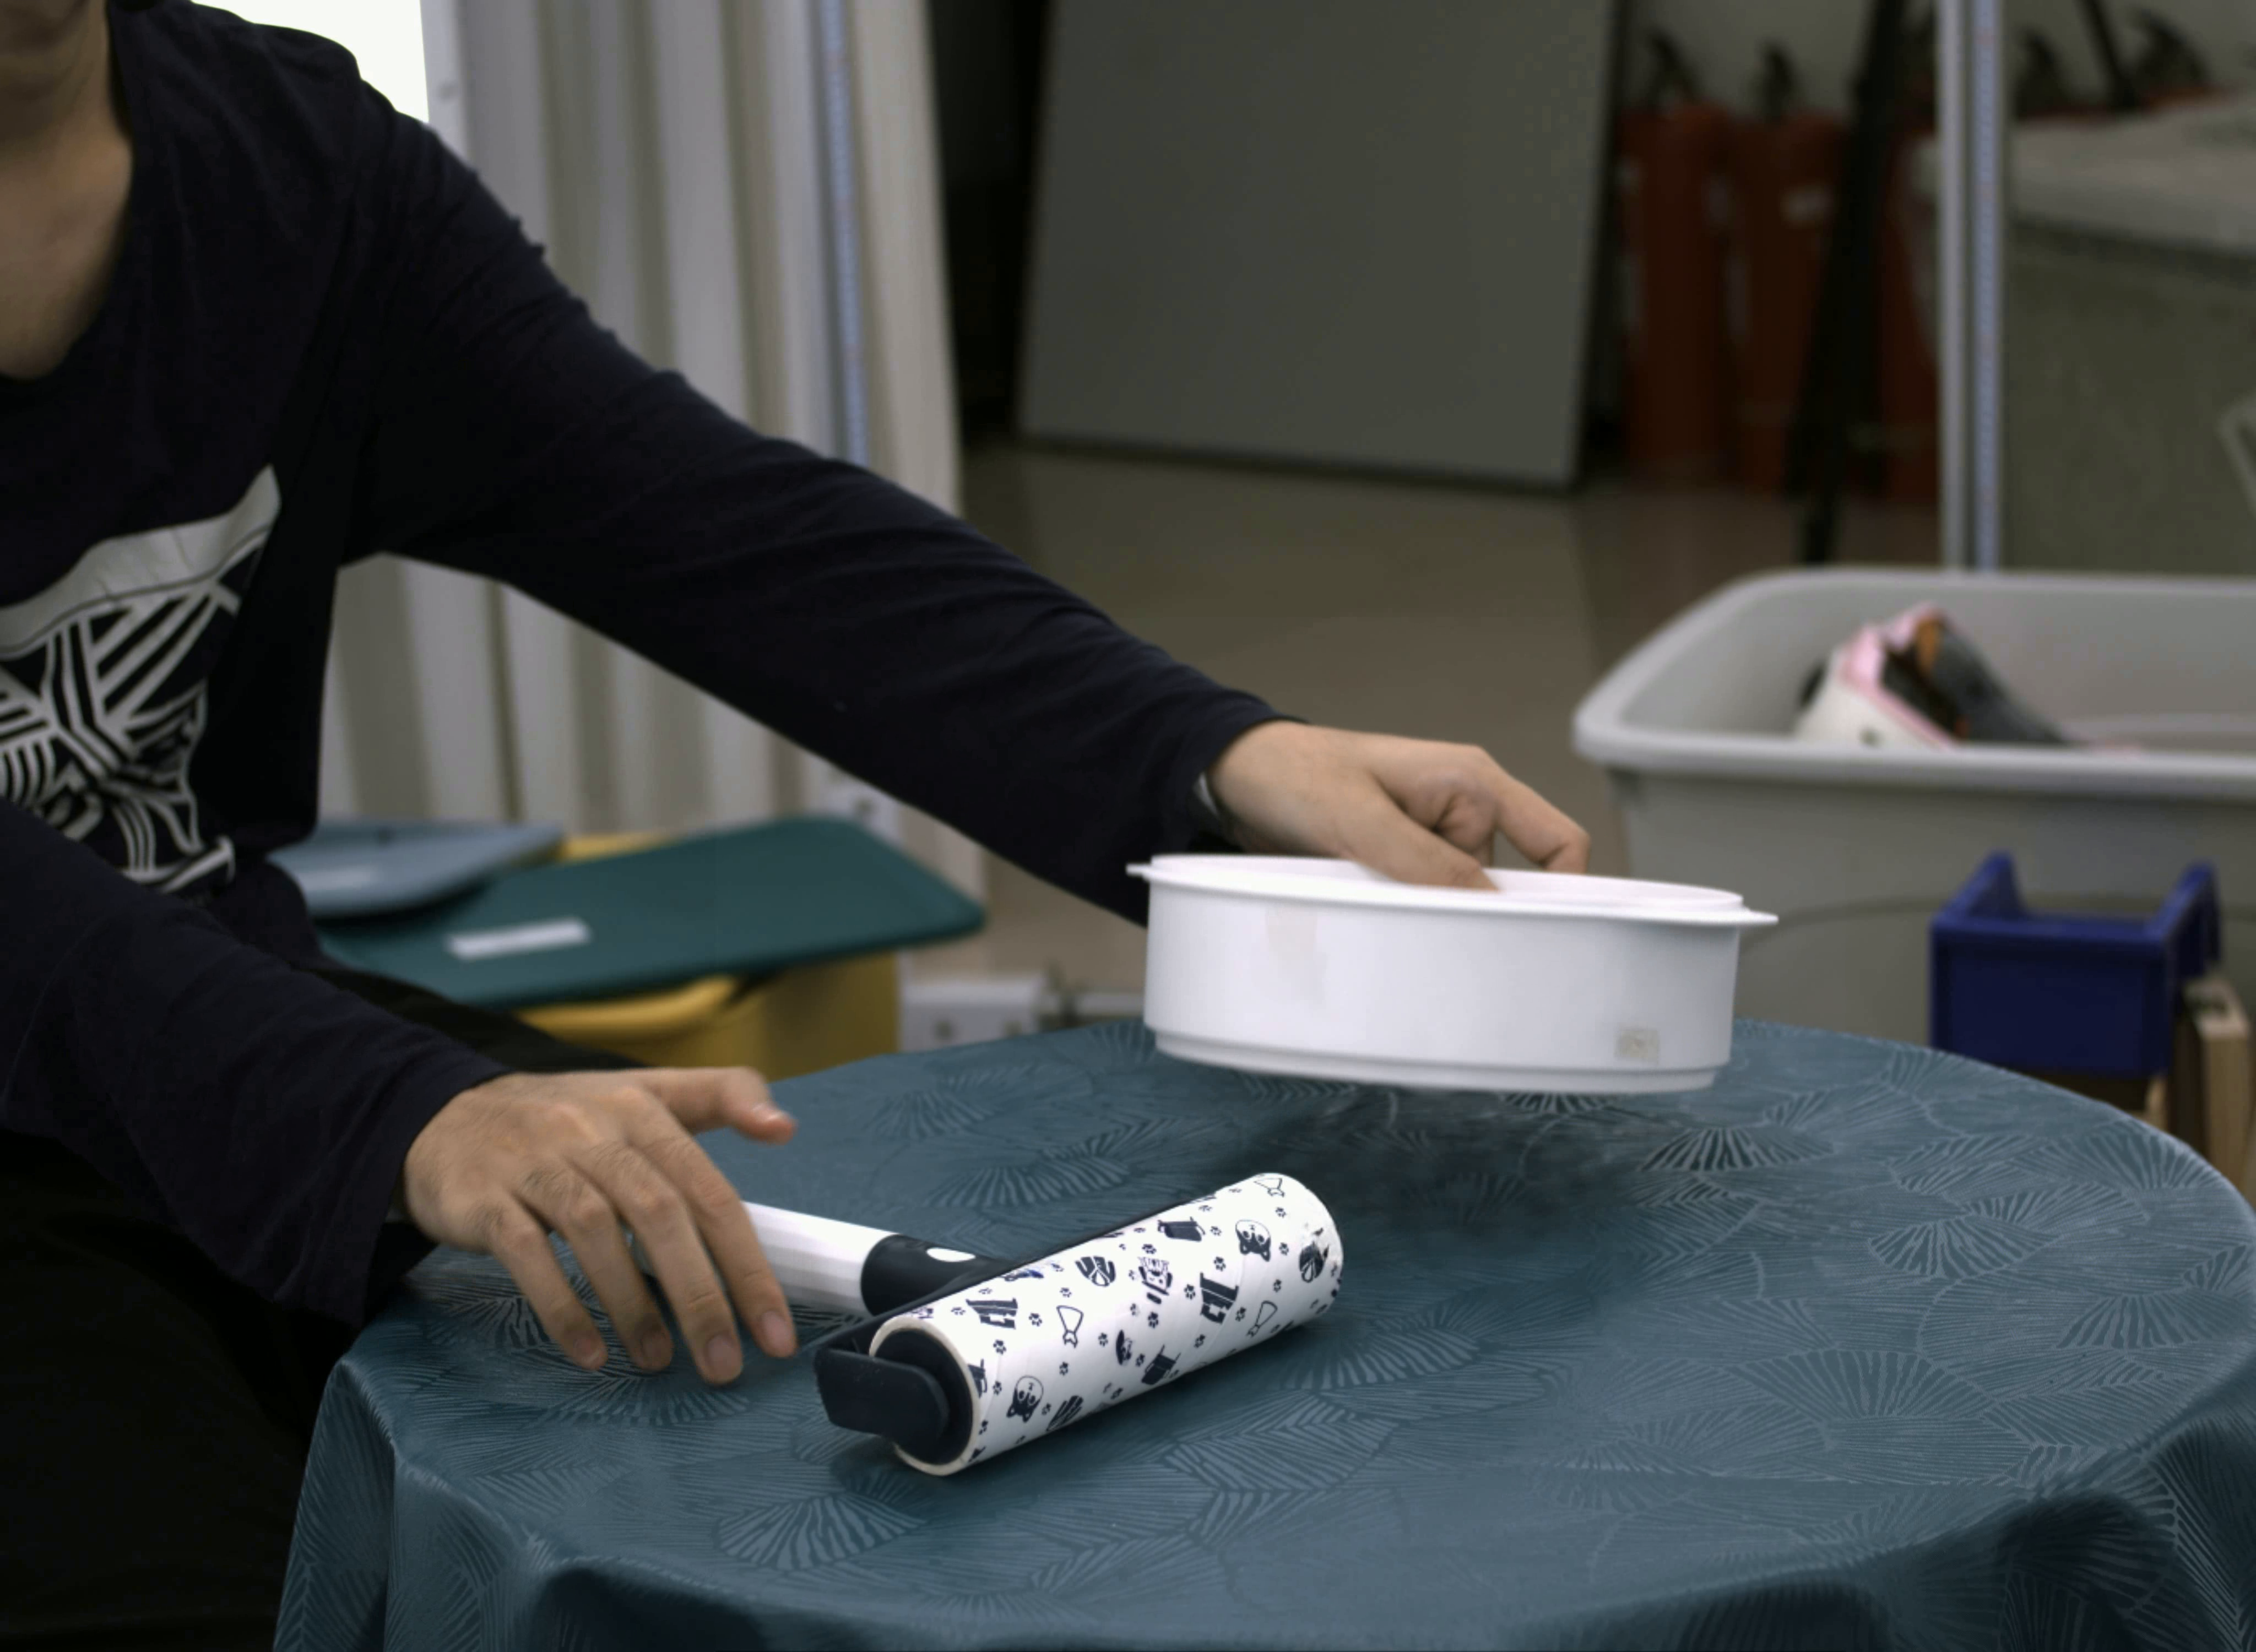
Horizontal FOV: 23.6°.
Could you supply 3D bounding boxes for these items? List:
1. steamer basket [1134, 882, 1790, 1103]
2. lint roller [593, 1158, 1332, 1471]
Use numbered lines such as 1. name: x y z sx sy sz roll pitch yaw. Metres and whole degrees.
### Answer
1. steamer basket: 0.106 0.054 1.759 0.232 0.070 0.198 0 -1 35
2. lint roller: -0.080 0.138 1.648 0.249 0.051 0.173 4 16 43
